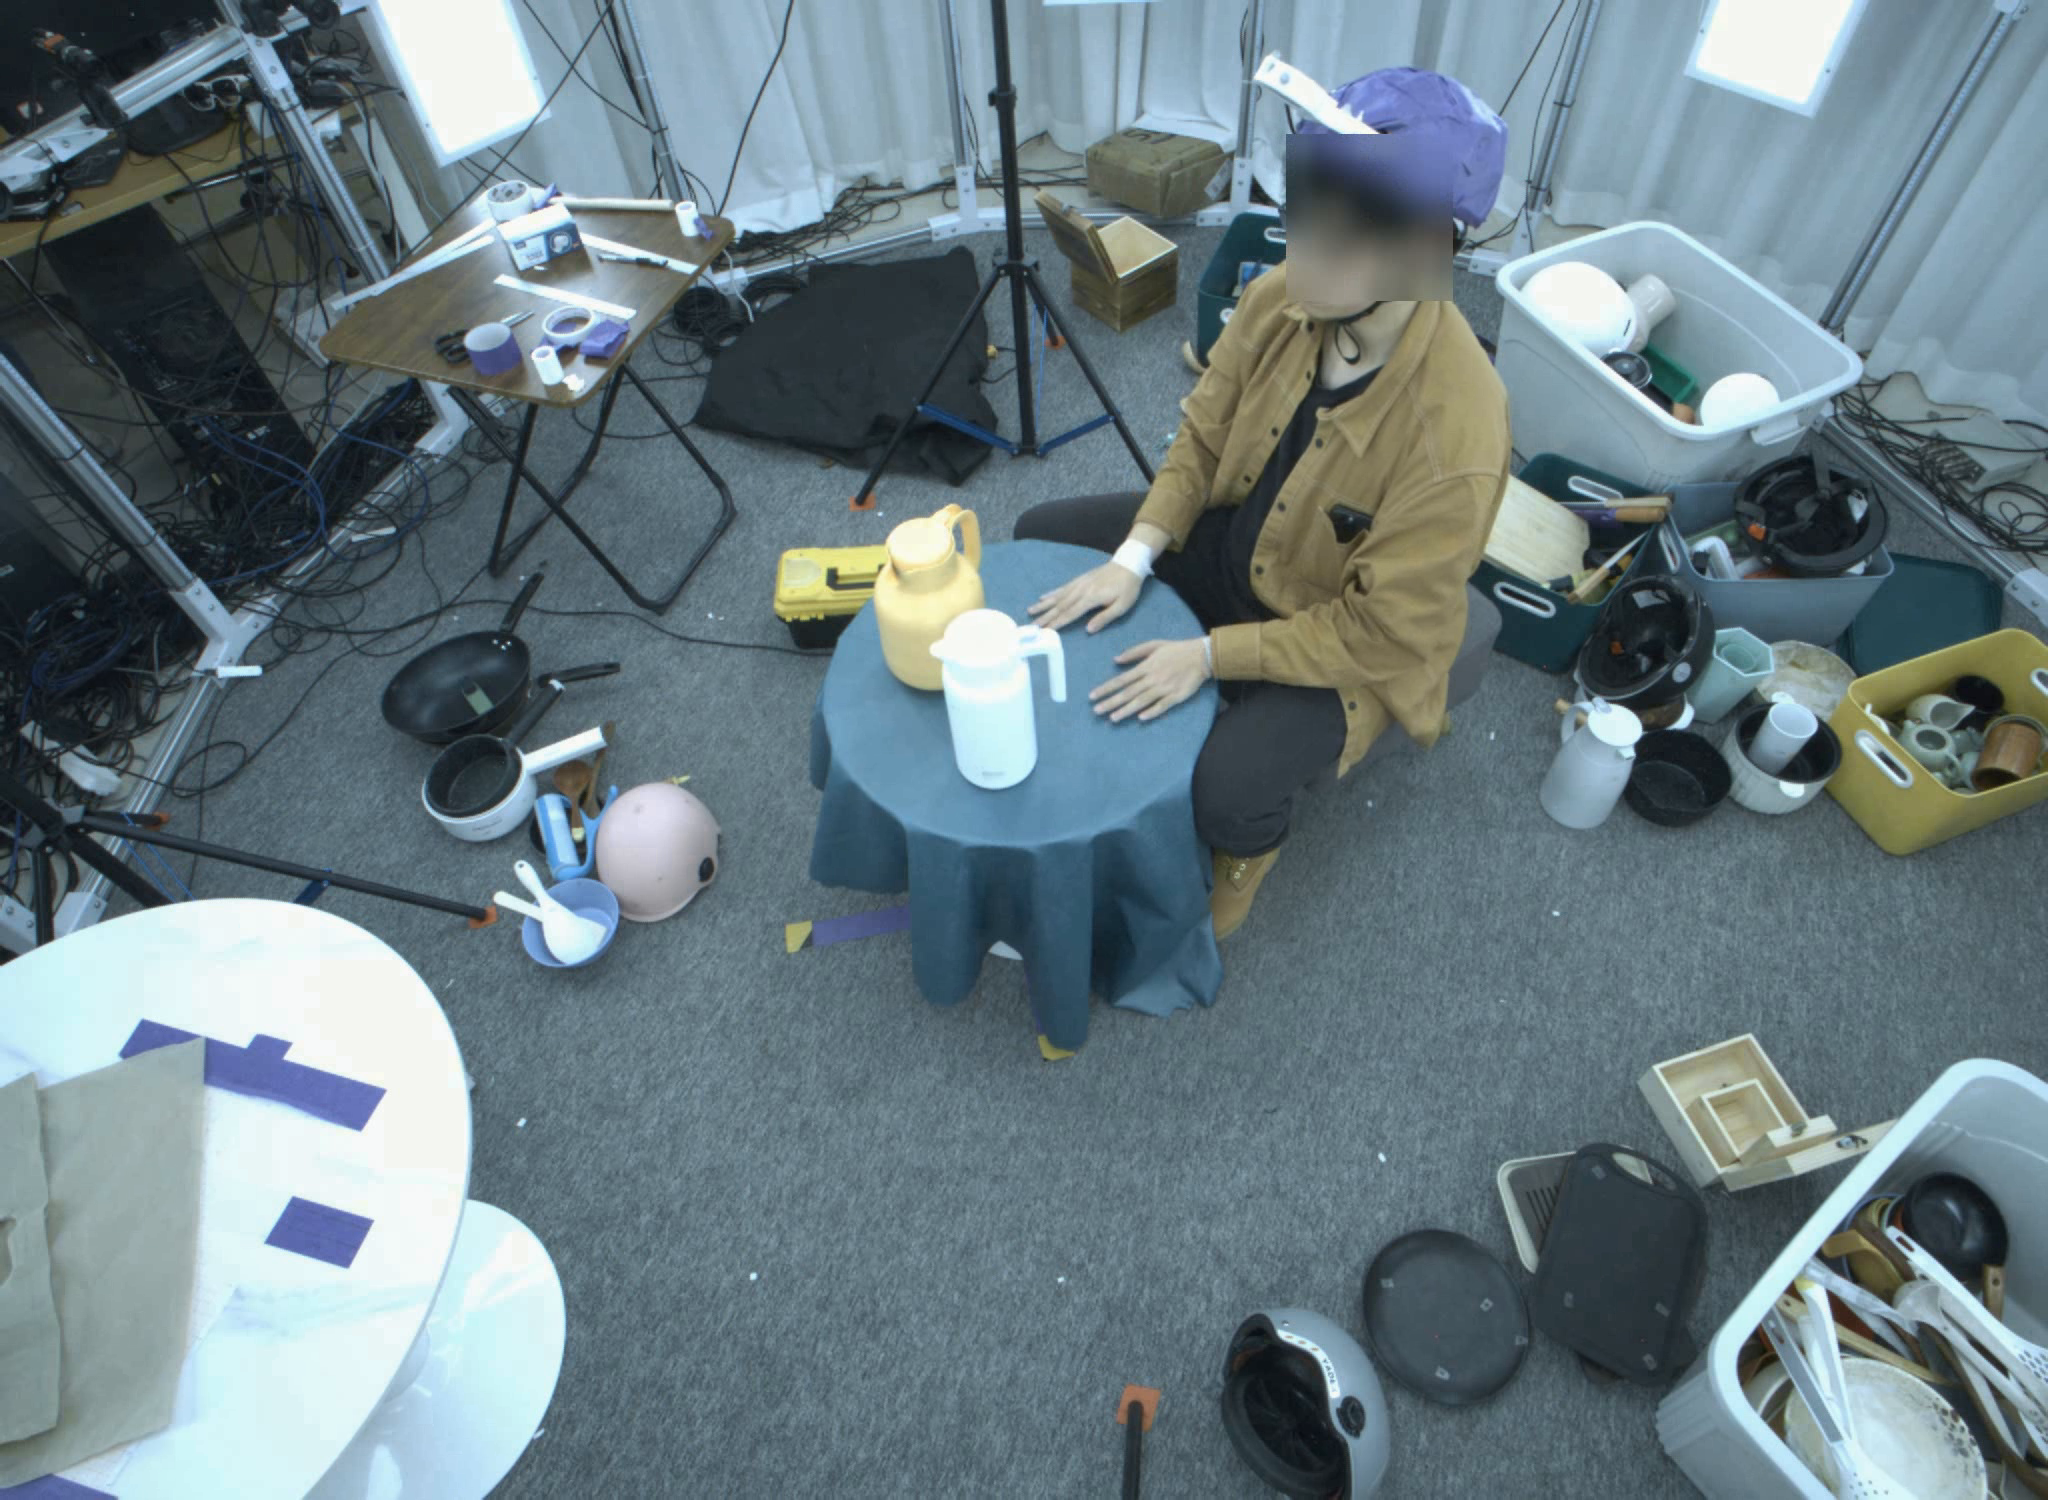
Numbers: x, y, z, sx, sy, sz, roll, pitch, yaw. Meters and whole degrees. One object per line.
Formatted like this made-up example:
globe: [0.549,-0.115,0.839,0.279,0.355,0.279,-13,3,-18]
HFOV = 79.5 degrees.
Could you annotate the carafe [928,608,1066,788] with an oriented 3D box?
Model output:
carafe: [-0.030,-0.070,1.669,0.173,0.272,0.122,-10,52,-4]

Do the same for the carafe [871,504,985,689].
carafe: [-0.129,-0.231,1.791,0.161,0.263,0.203,29,62,19]
